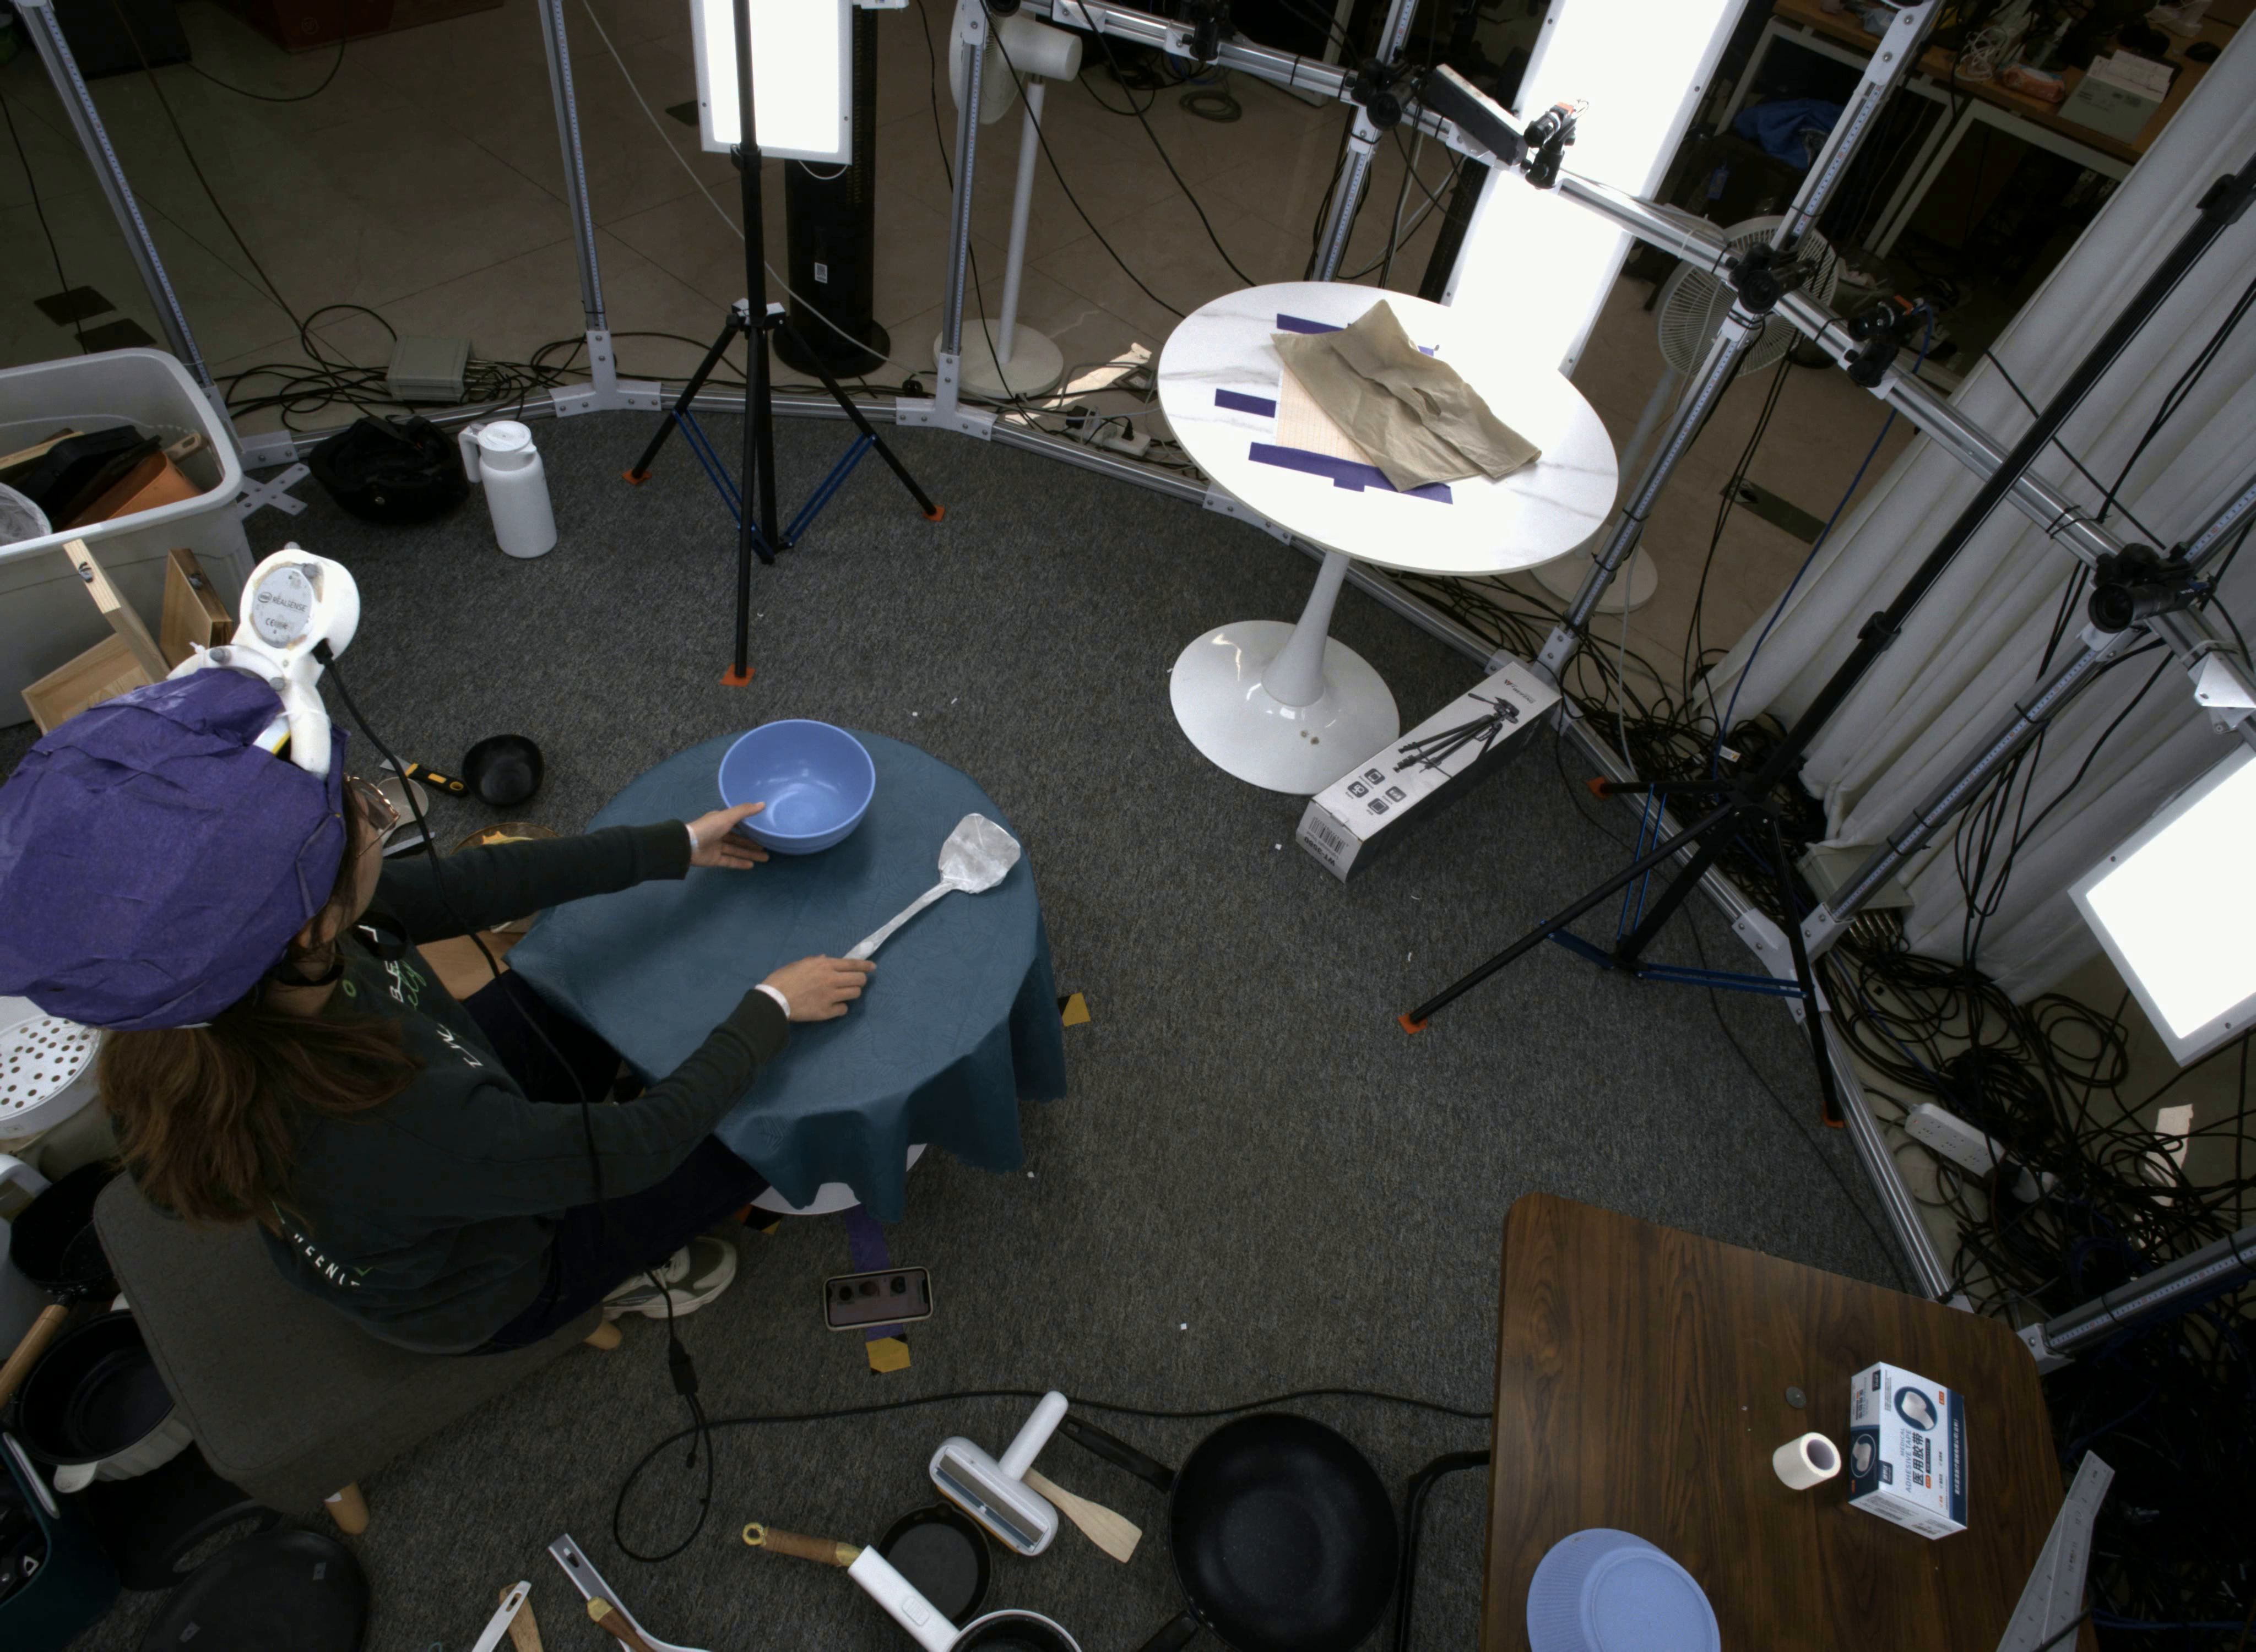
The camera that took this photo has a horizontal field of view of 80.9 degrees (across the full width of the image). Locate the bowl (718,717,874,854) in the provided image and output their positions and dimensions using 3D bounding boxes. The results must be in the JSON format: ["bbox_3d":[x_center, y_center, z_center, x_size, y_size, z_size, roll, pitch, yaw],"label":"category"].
[{"bbox_3d":[-0.432,-0.038,1.693,0.196,0.097,0.193,9,51,-9],"label":"bowl"}]

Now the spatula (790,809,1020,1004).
[{"bbox_3d":[-0.287,0.107,1.659,0.097,0.045,0.365,39,54,14],"label":"spatula"}]
